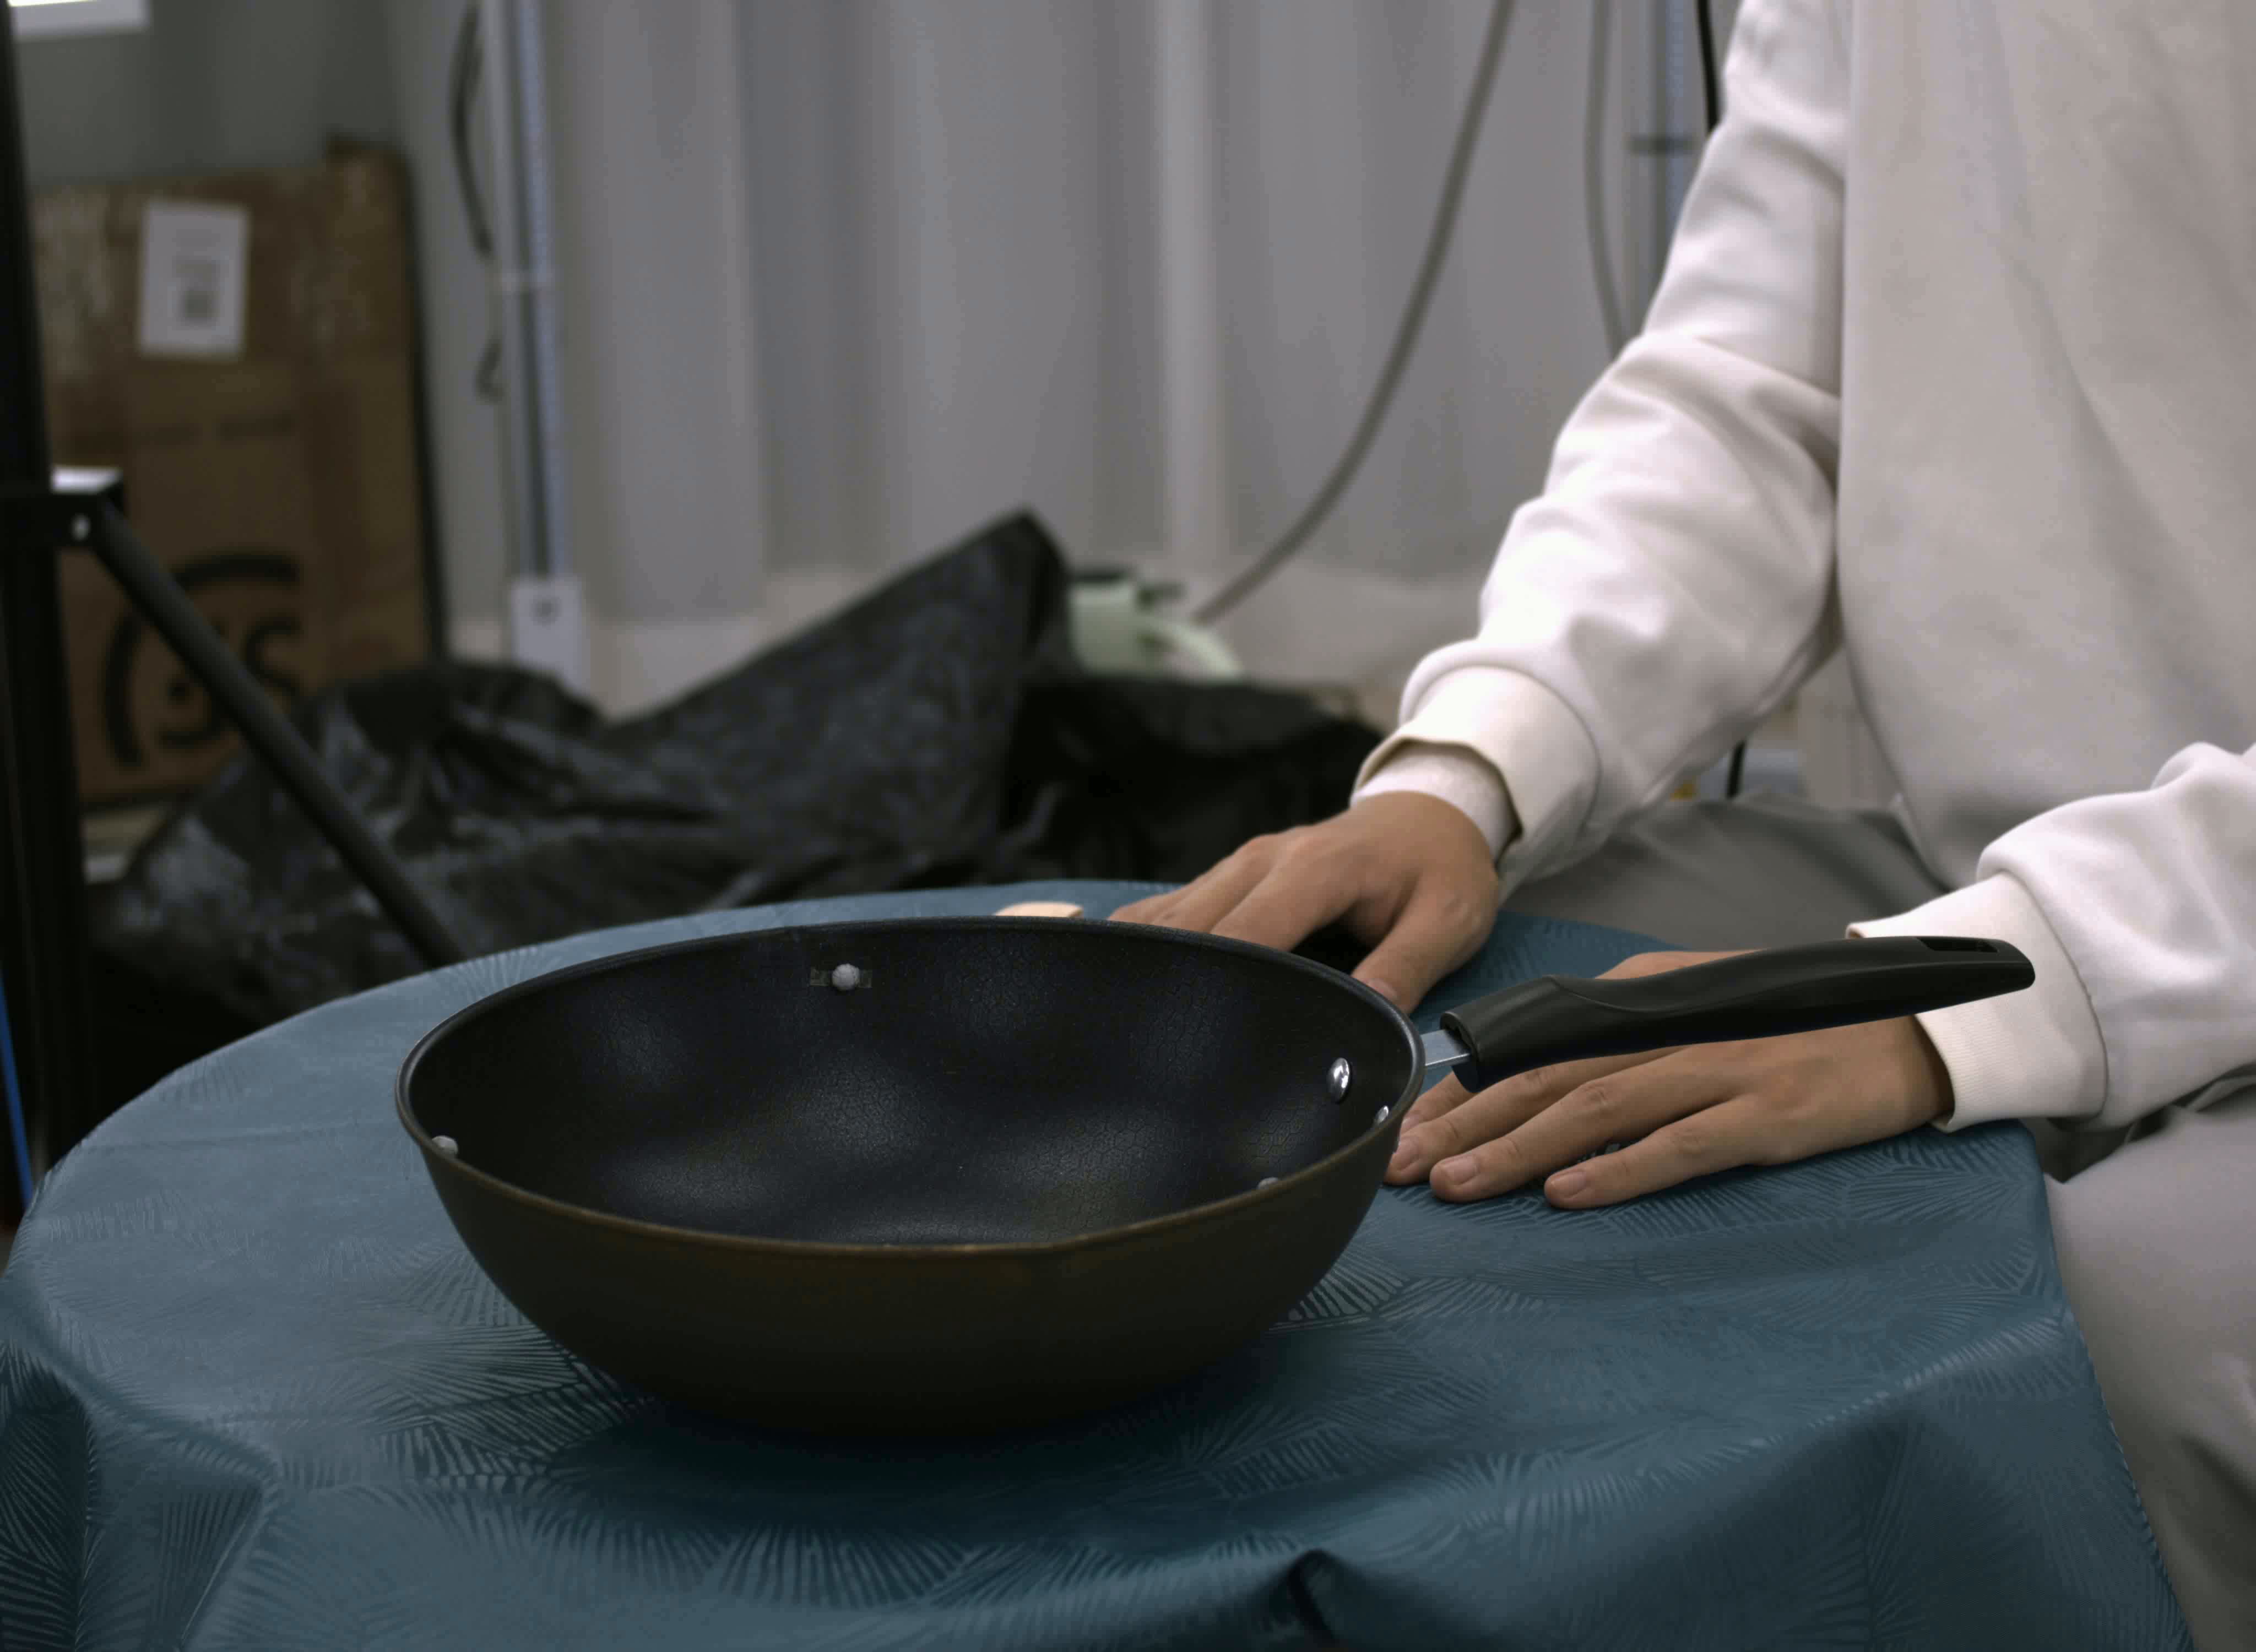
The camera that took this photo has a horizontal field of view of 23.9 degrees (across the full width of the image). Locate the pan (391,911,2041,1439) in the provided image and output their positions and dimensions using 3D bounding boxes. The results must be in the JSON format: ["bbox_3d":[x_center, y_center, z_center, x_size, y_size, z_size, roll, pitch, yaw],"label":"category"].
[{"bbox_3d":[0.029,0.093,1.459,0.457,0.087,0.292,-4,16,-12],"label":"pan"}]

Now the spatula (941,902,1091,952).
[{"bbox_3d":[-0.088,0.067,1.704,0.073,0.010,0.288,4,17,27],"label":"spatula"}]
